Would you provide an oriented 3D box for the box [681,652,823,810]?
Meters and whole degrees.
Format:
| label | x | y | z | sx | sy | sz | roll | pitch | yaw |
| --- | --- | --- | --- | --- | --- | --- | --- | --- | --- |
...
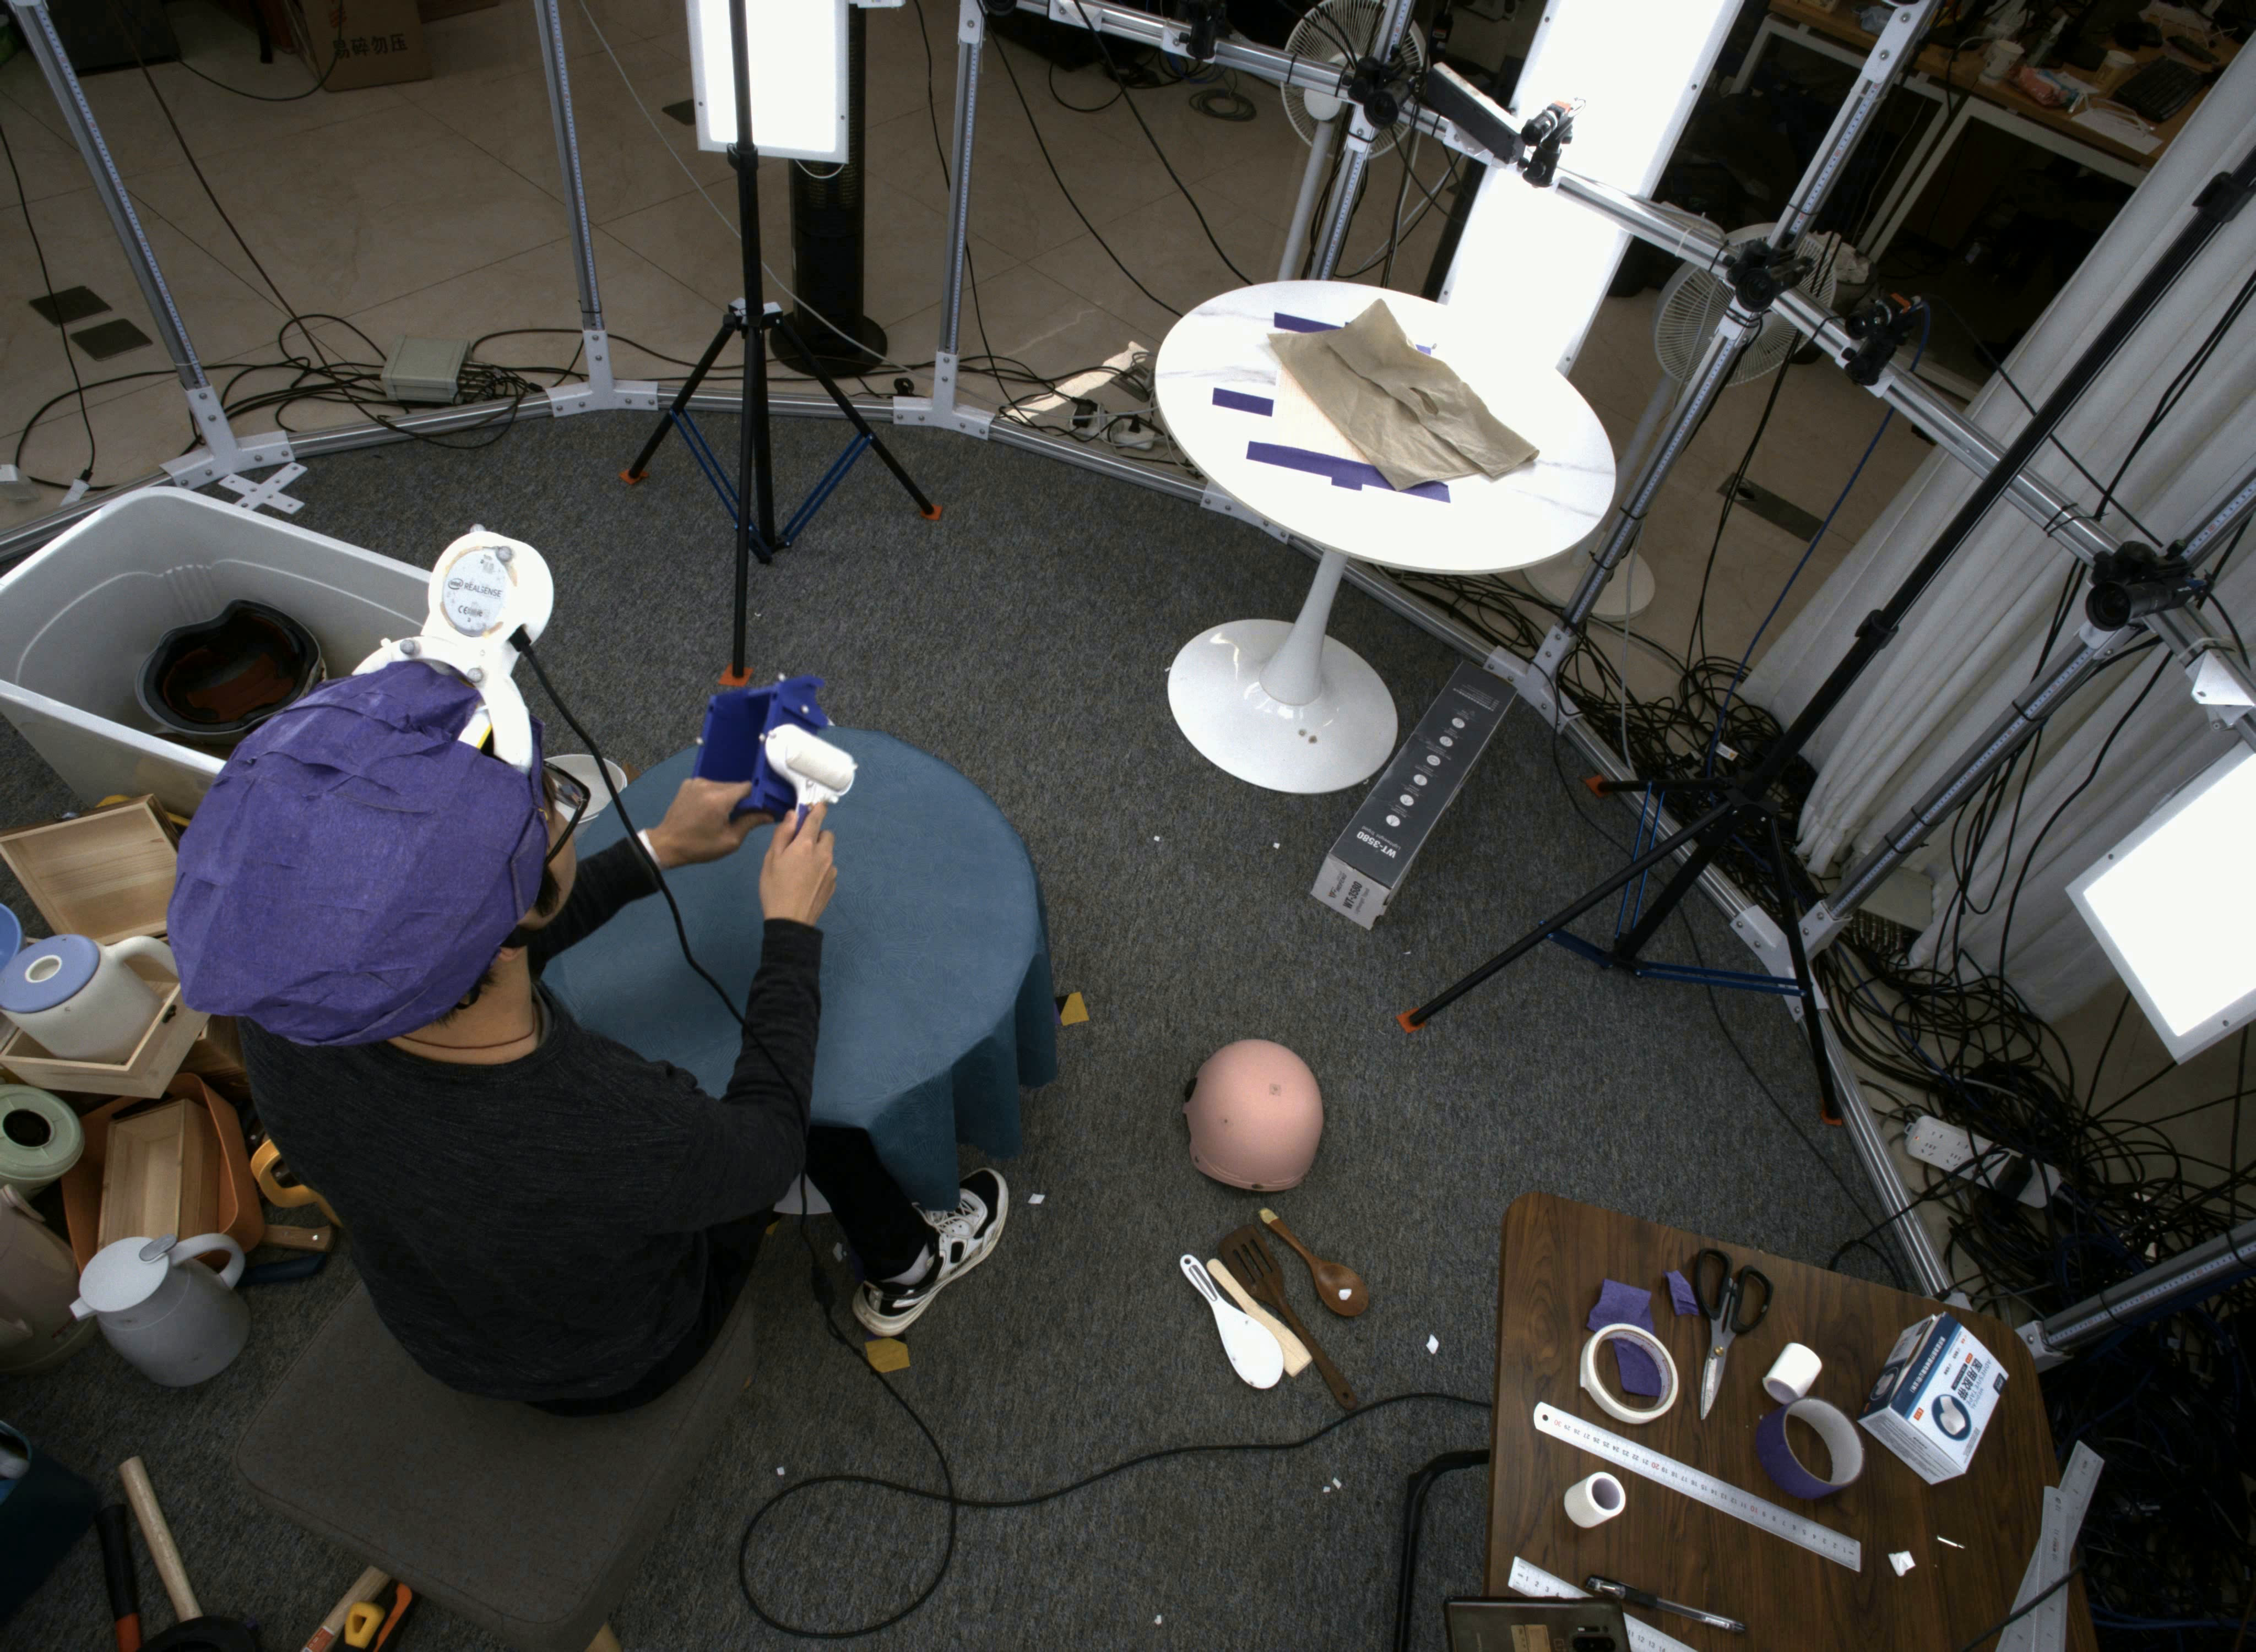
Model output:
| label | x | y | z | sx | sy | sz | roll | pitch | yaw |
| --- | --- | --- | --- | --- | --- | --- | --- | --- | --- |
| box | -0.428 | -0.109 | 1.477 | 0.121 | 0.084 | 0.179 | -4 | 73 | 32 |

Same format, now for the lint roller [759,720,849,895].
| label | x | y | z | sx | sy | sz | roll | pitch | yaw |
| --- | --- | --- | --- | --- | --- | --- | --- | --- | --- |
| lint roller | -0.353 | -0.017 | 1.421 | 0.049 | 0.137 | 0.179 | -13 | 70 | 19 |
